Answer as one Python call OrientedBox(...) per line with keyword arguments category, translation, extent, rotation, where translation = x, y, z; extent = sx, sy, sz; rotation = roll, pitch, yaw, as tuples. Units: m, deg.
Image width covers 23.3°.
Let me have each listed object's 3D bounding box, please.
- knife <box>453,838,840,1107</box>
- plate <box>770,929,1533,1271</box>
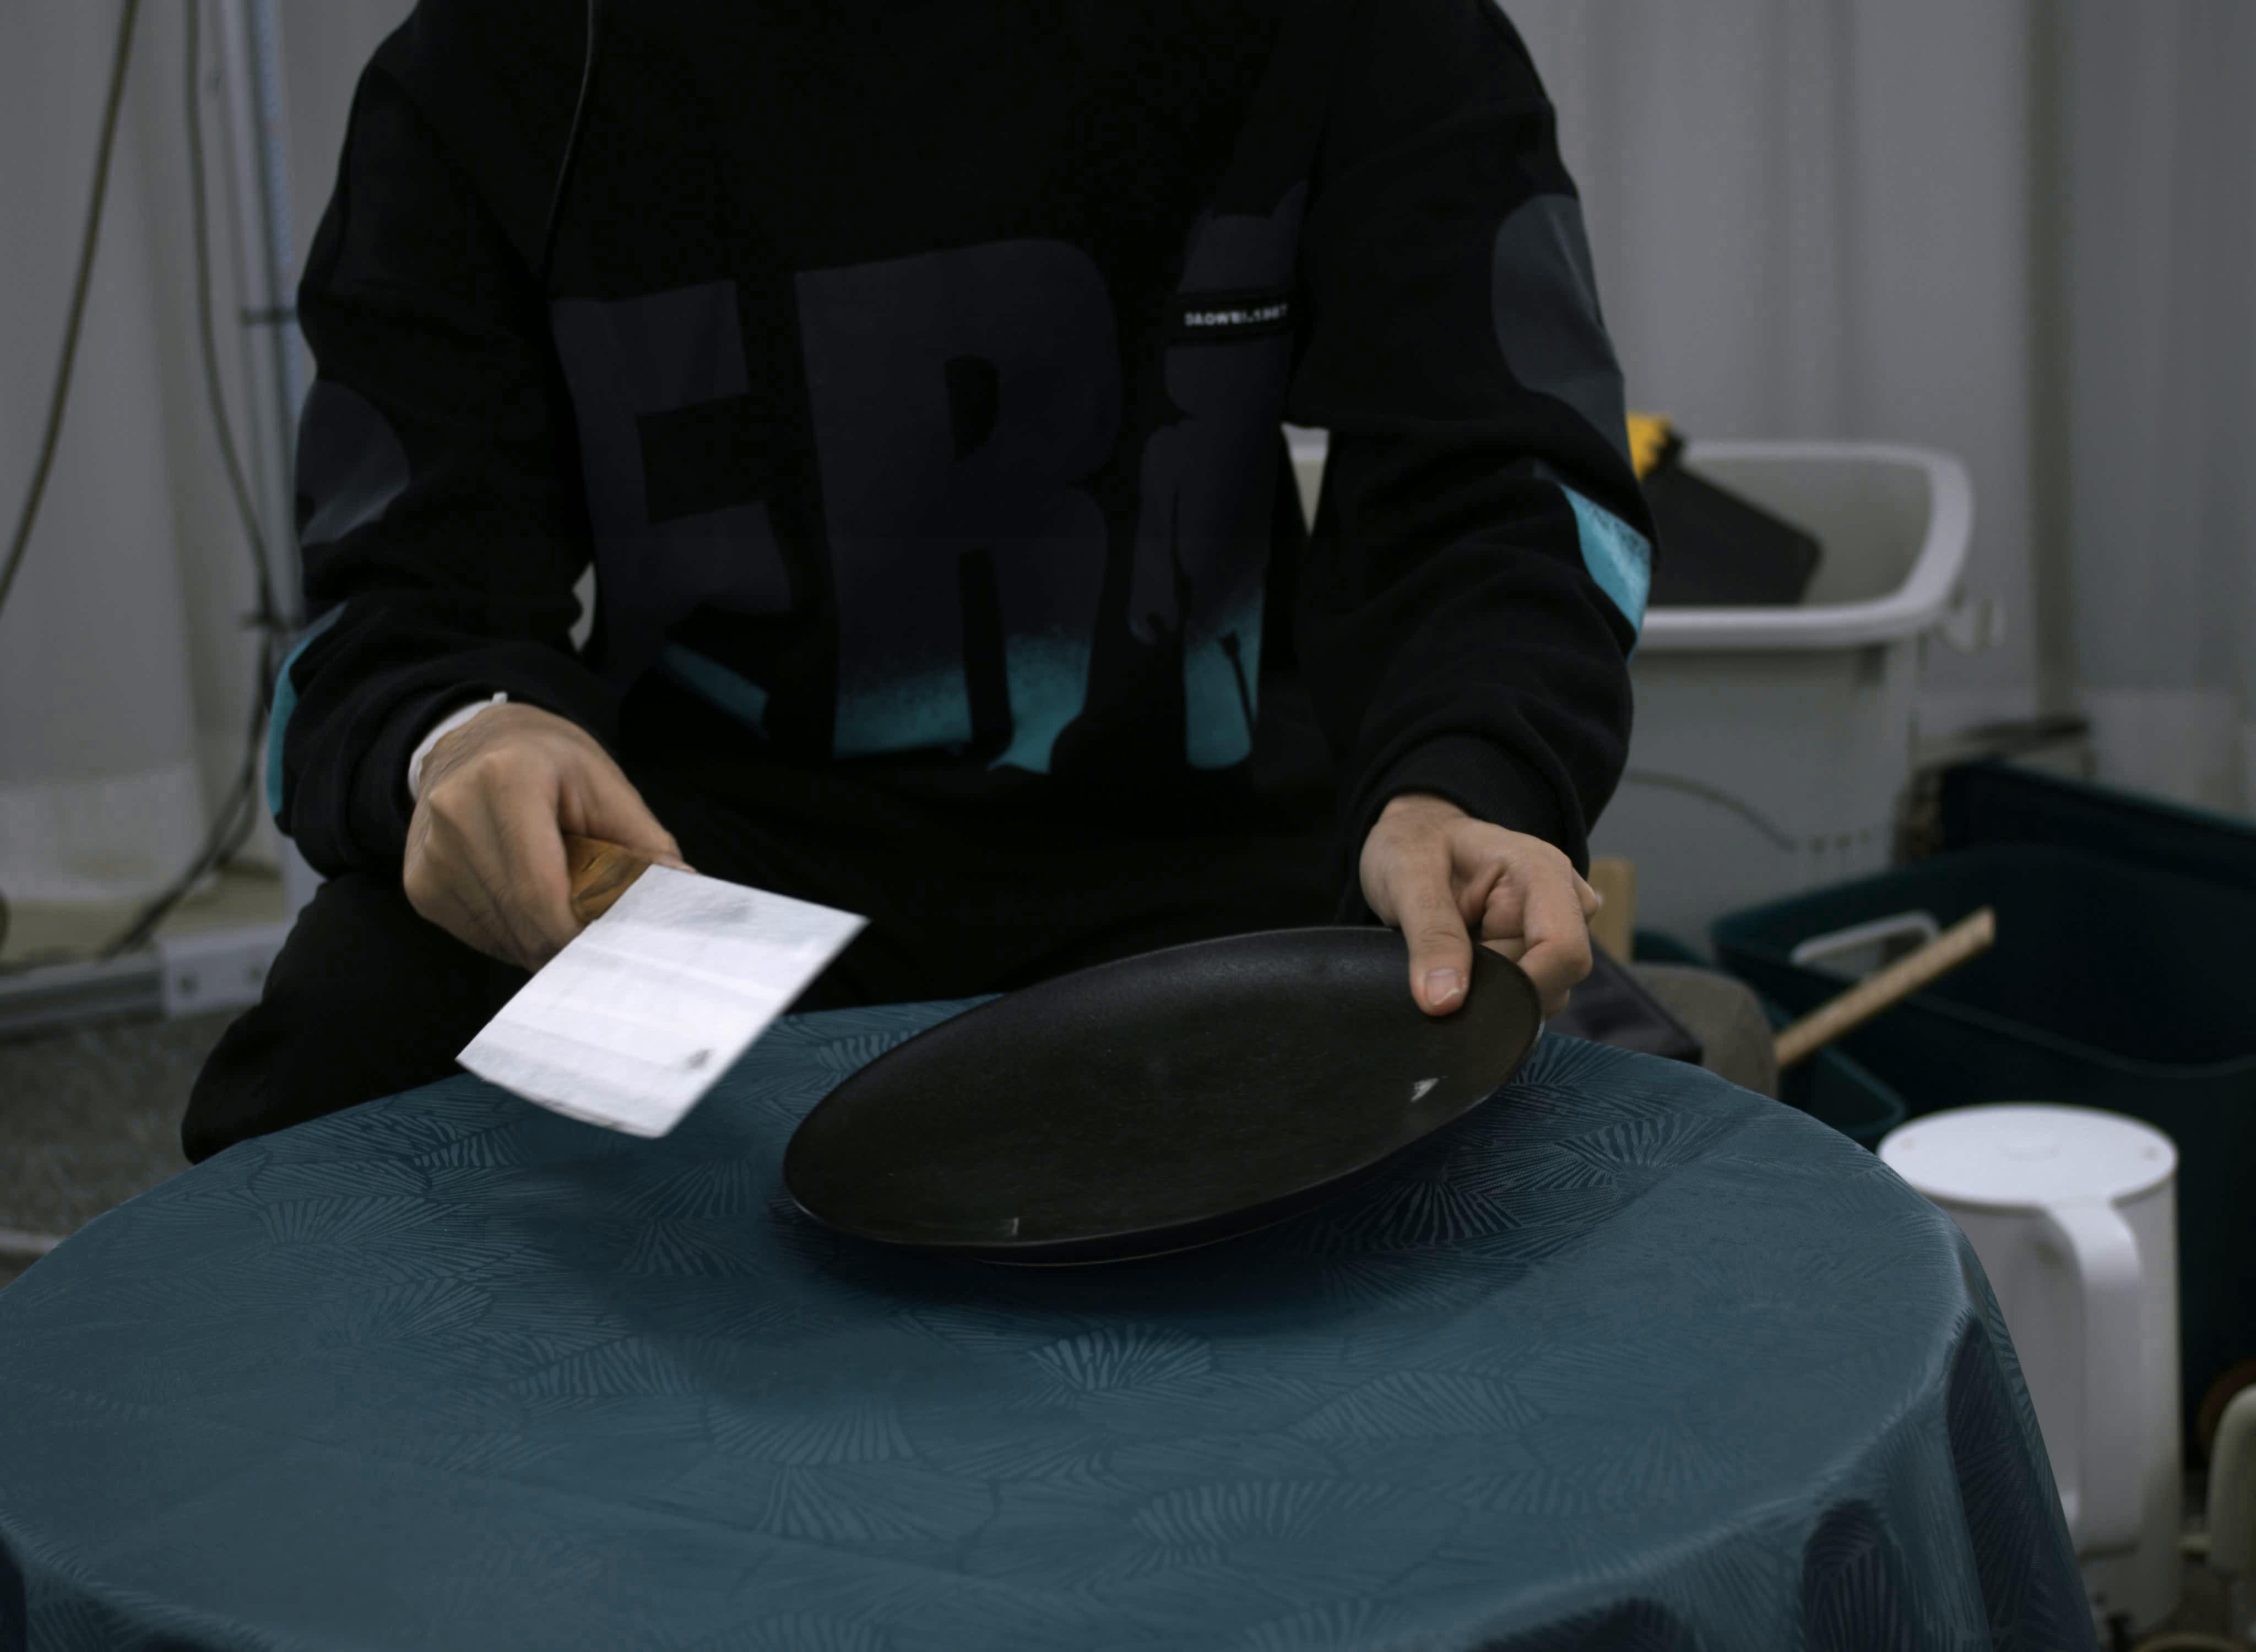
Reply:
OrientedBox(category="knife", translation=(-0.170, 0.046, 1.716), extent=(0.093, 0.021, 0.307), rotation=(-48, 20, -13))
OrientedBox(category="plate", translation=(0.009, 0.089, 1.705), extent=(0.243, 0.023, 0.246), rotation=(-12, 18, 4))
